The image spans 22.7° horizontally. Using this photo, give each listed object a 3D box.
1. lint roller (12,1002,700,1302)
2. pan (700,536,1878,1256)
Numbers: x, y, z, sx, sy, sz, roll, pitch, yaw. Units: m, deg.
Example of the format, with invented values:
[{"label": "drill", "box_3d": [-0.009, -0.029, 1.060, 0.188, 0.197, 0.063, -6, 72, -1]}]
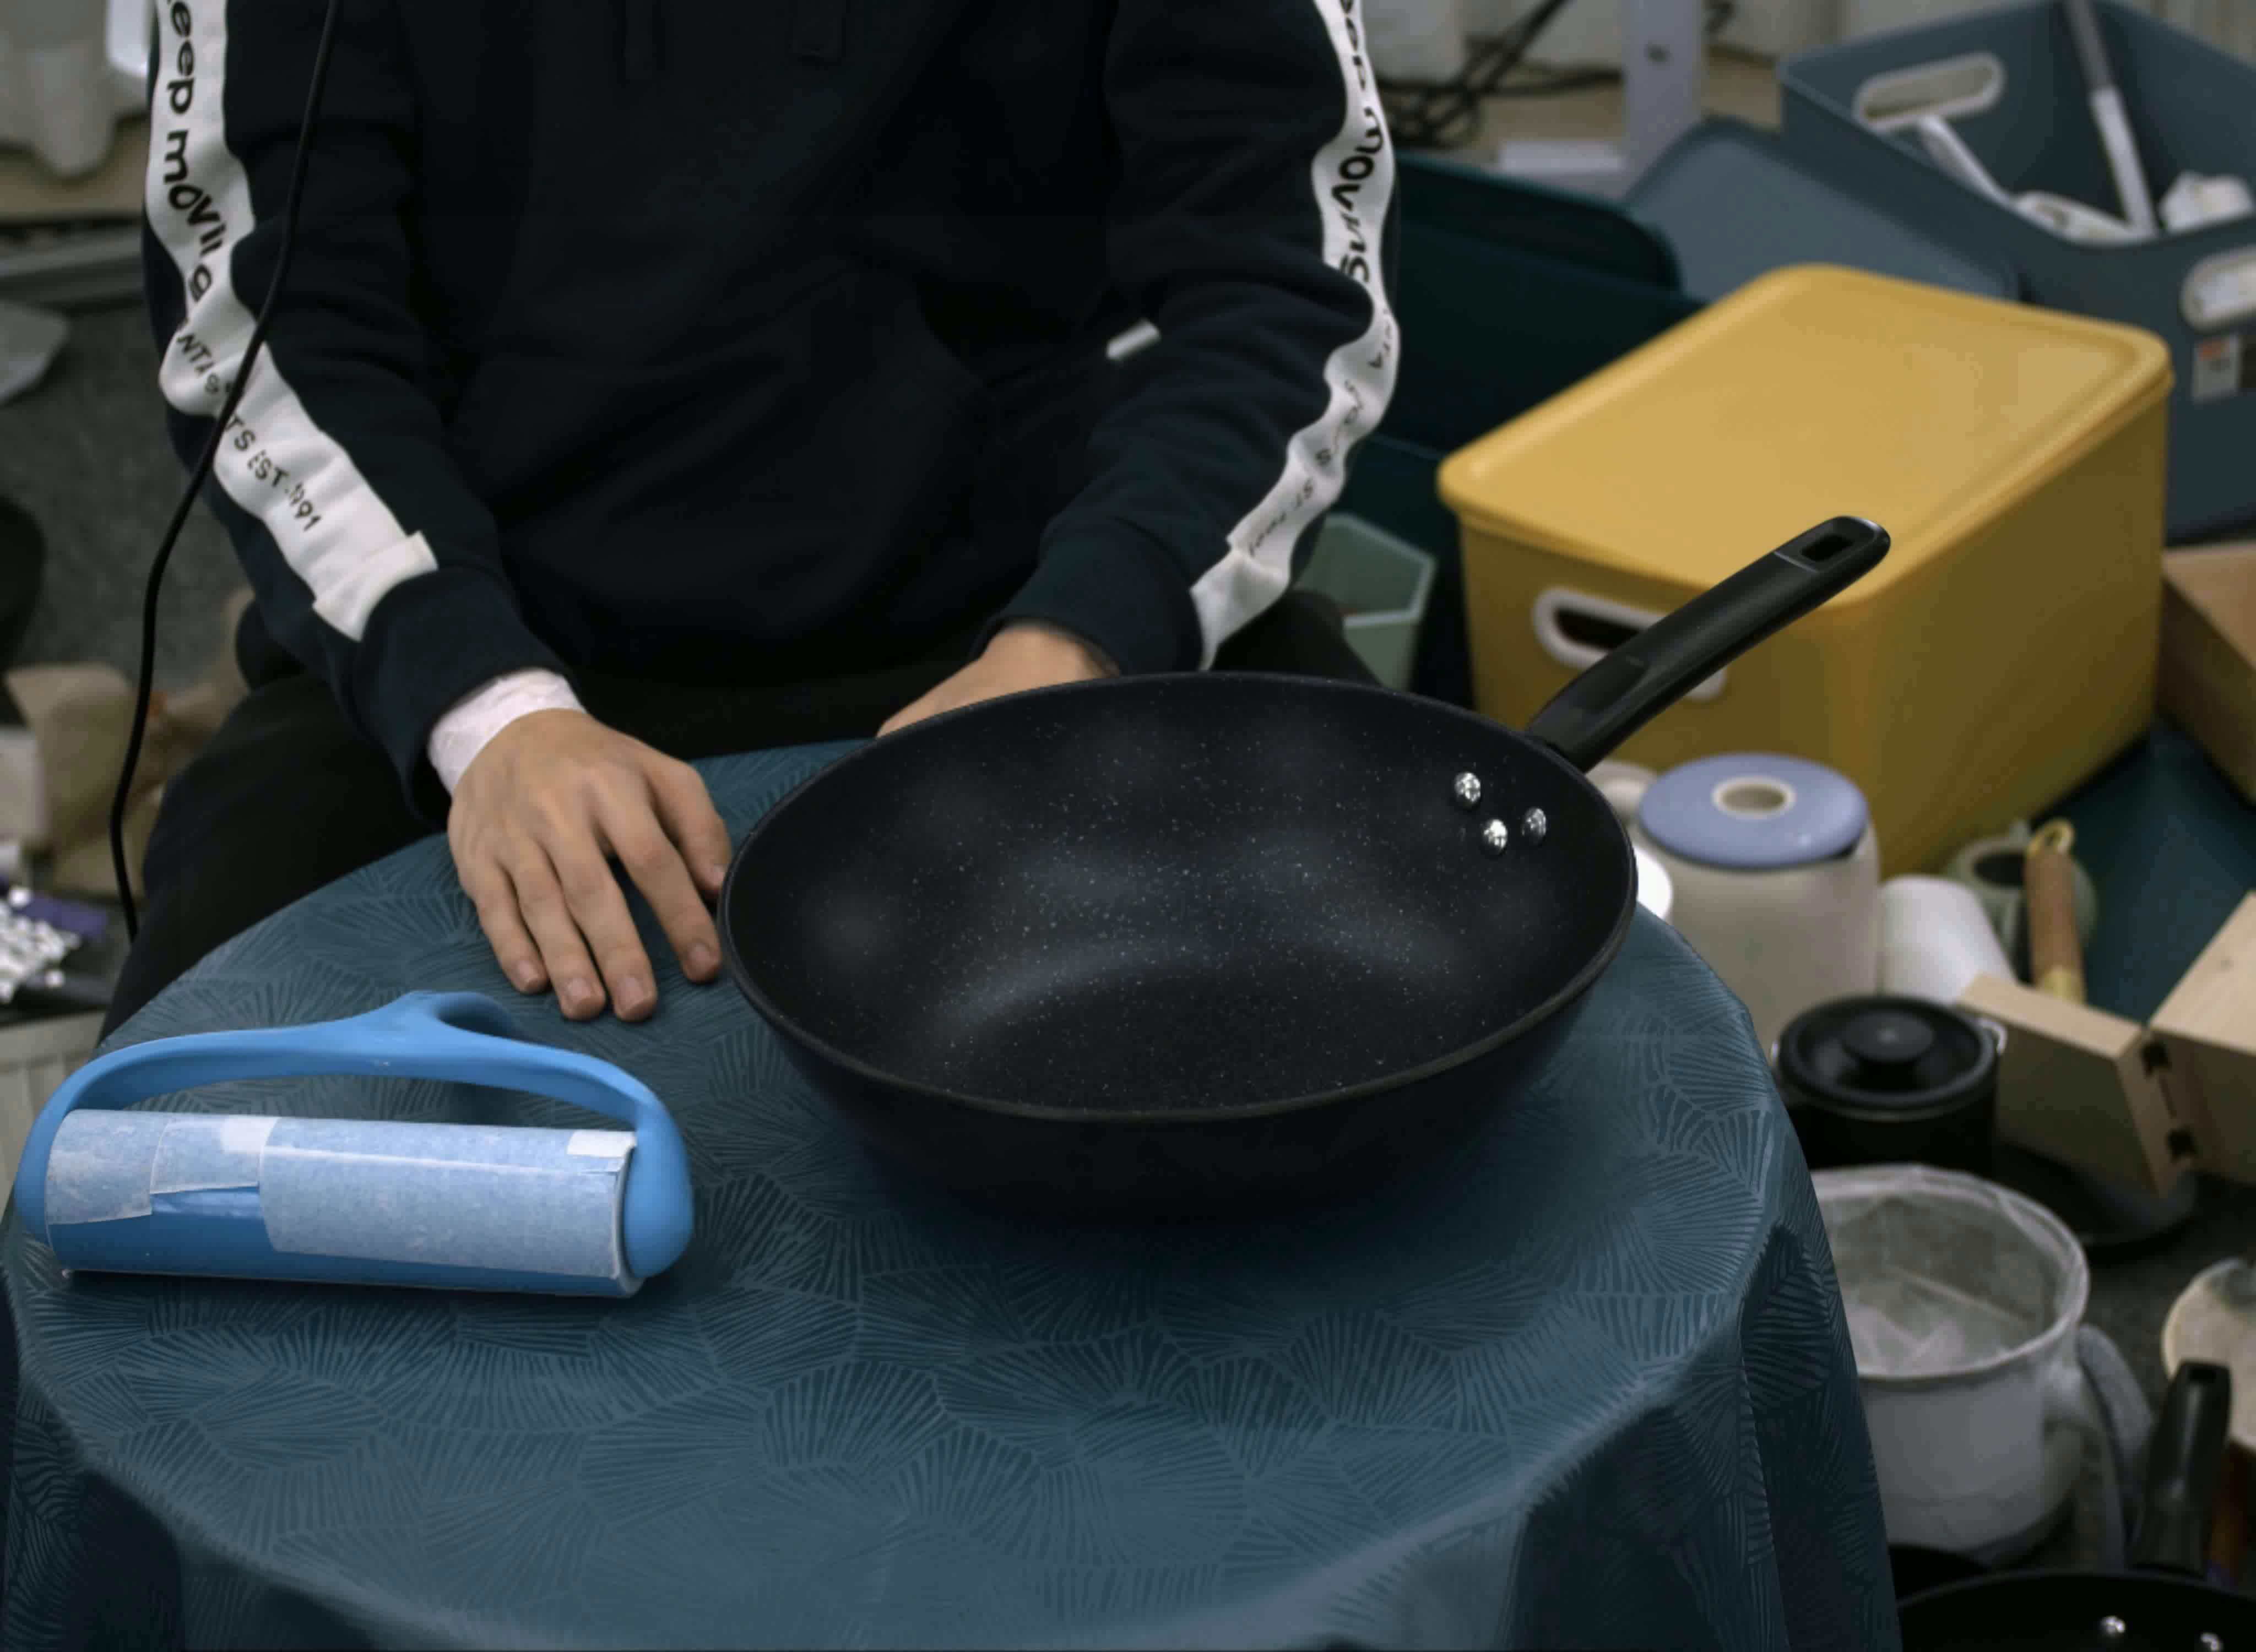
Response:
[{"label": "lint roller", "box_3d": [-0.244, 0.095, 1.874, 0.227, 0.067, 0.183, -2, 30, 8]}, {"label": "pan", "box_3d": [0.078, 0.022, 1.931, 0.481, 0.110, 0.311, -22, 35, -32]}]
